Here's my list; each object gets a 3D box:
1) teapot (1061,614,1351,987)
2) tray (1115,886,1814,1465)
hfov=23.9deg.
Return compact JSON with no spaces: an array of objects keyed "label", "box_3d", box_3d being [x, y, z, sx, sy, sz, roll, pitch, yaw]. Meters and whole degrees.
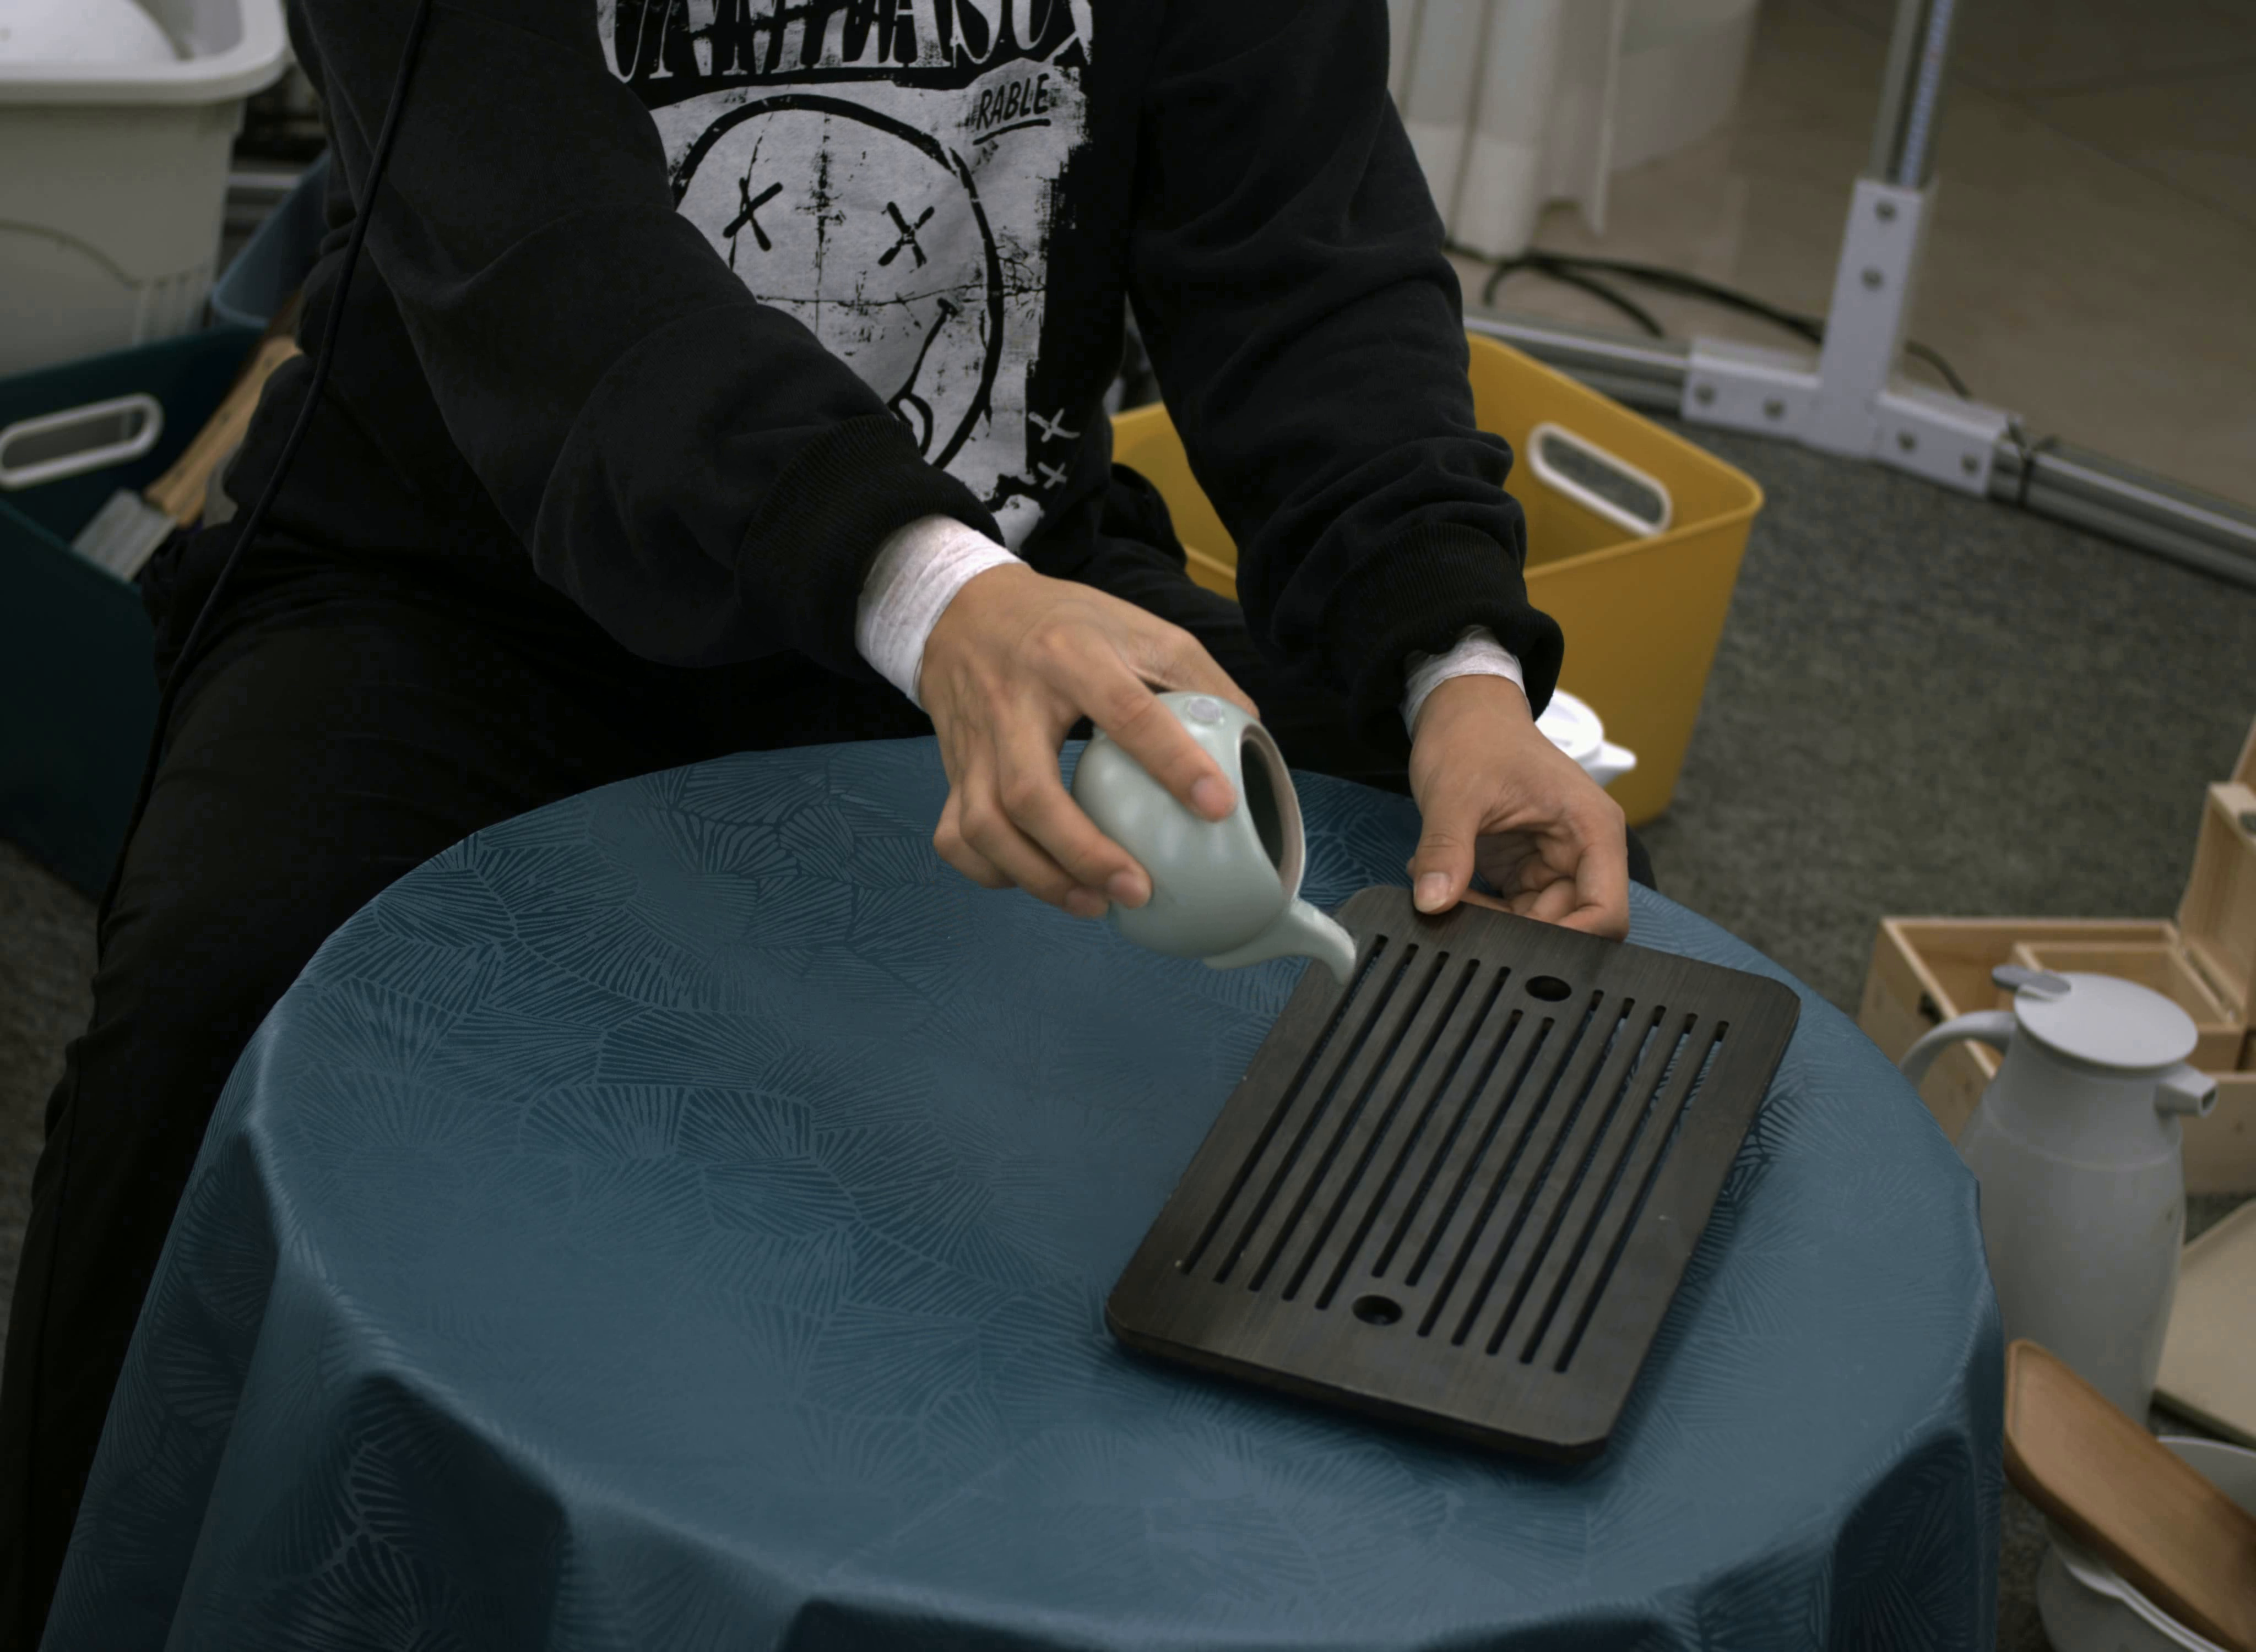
[{"label":"teapot","box_3d":[0.019,-0.002,1.750,0.075,0.143,0.088,-14,23,17]},{"label":"tray","box_3d":[0.120,0.115,1.810,0.170,0.018,0.306,13,31,14]}]
